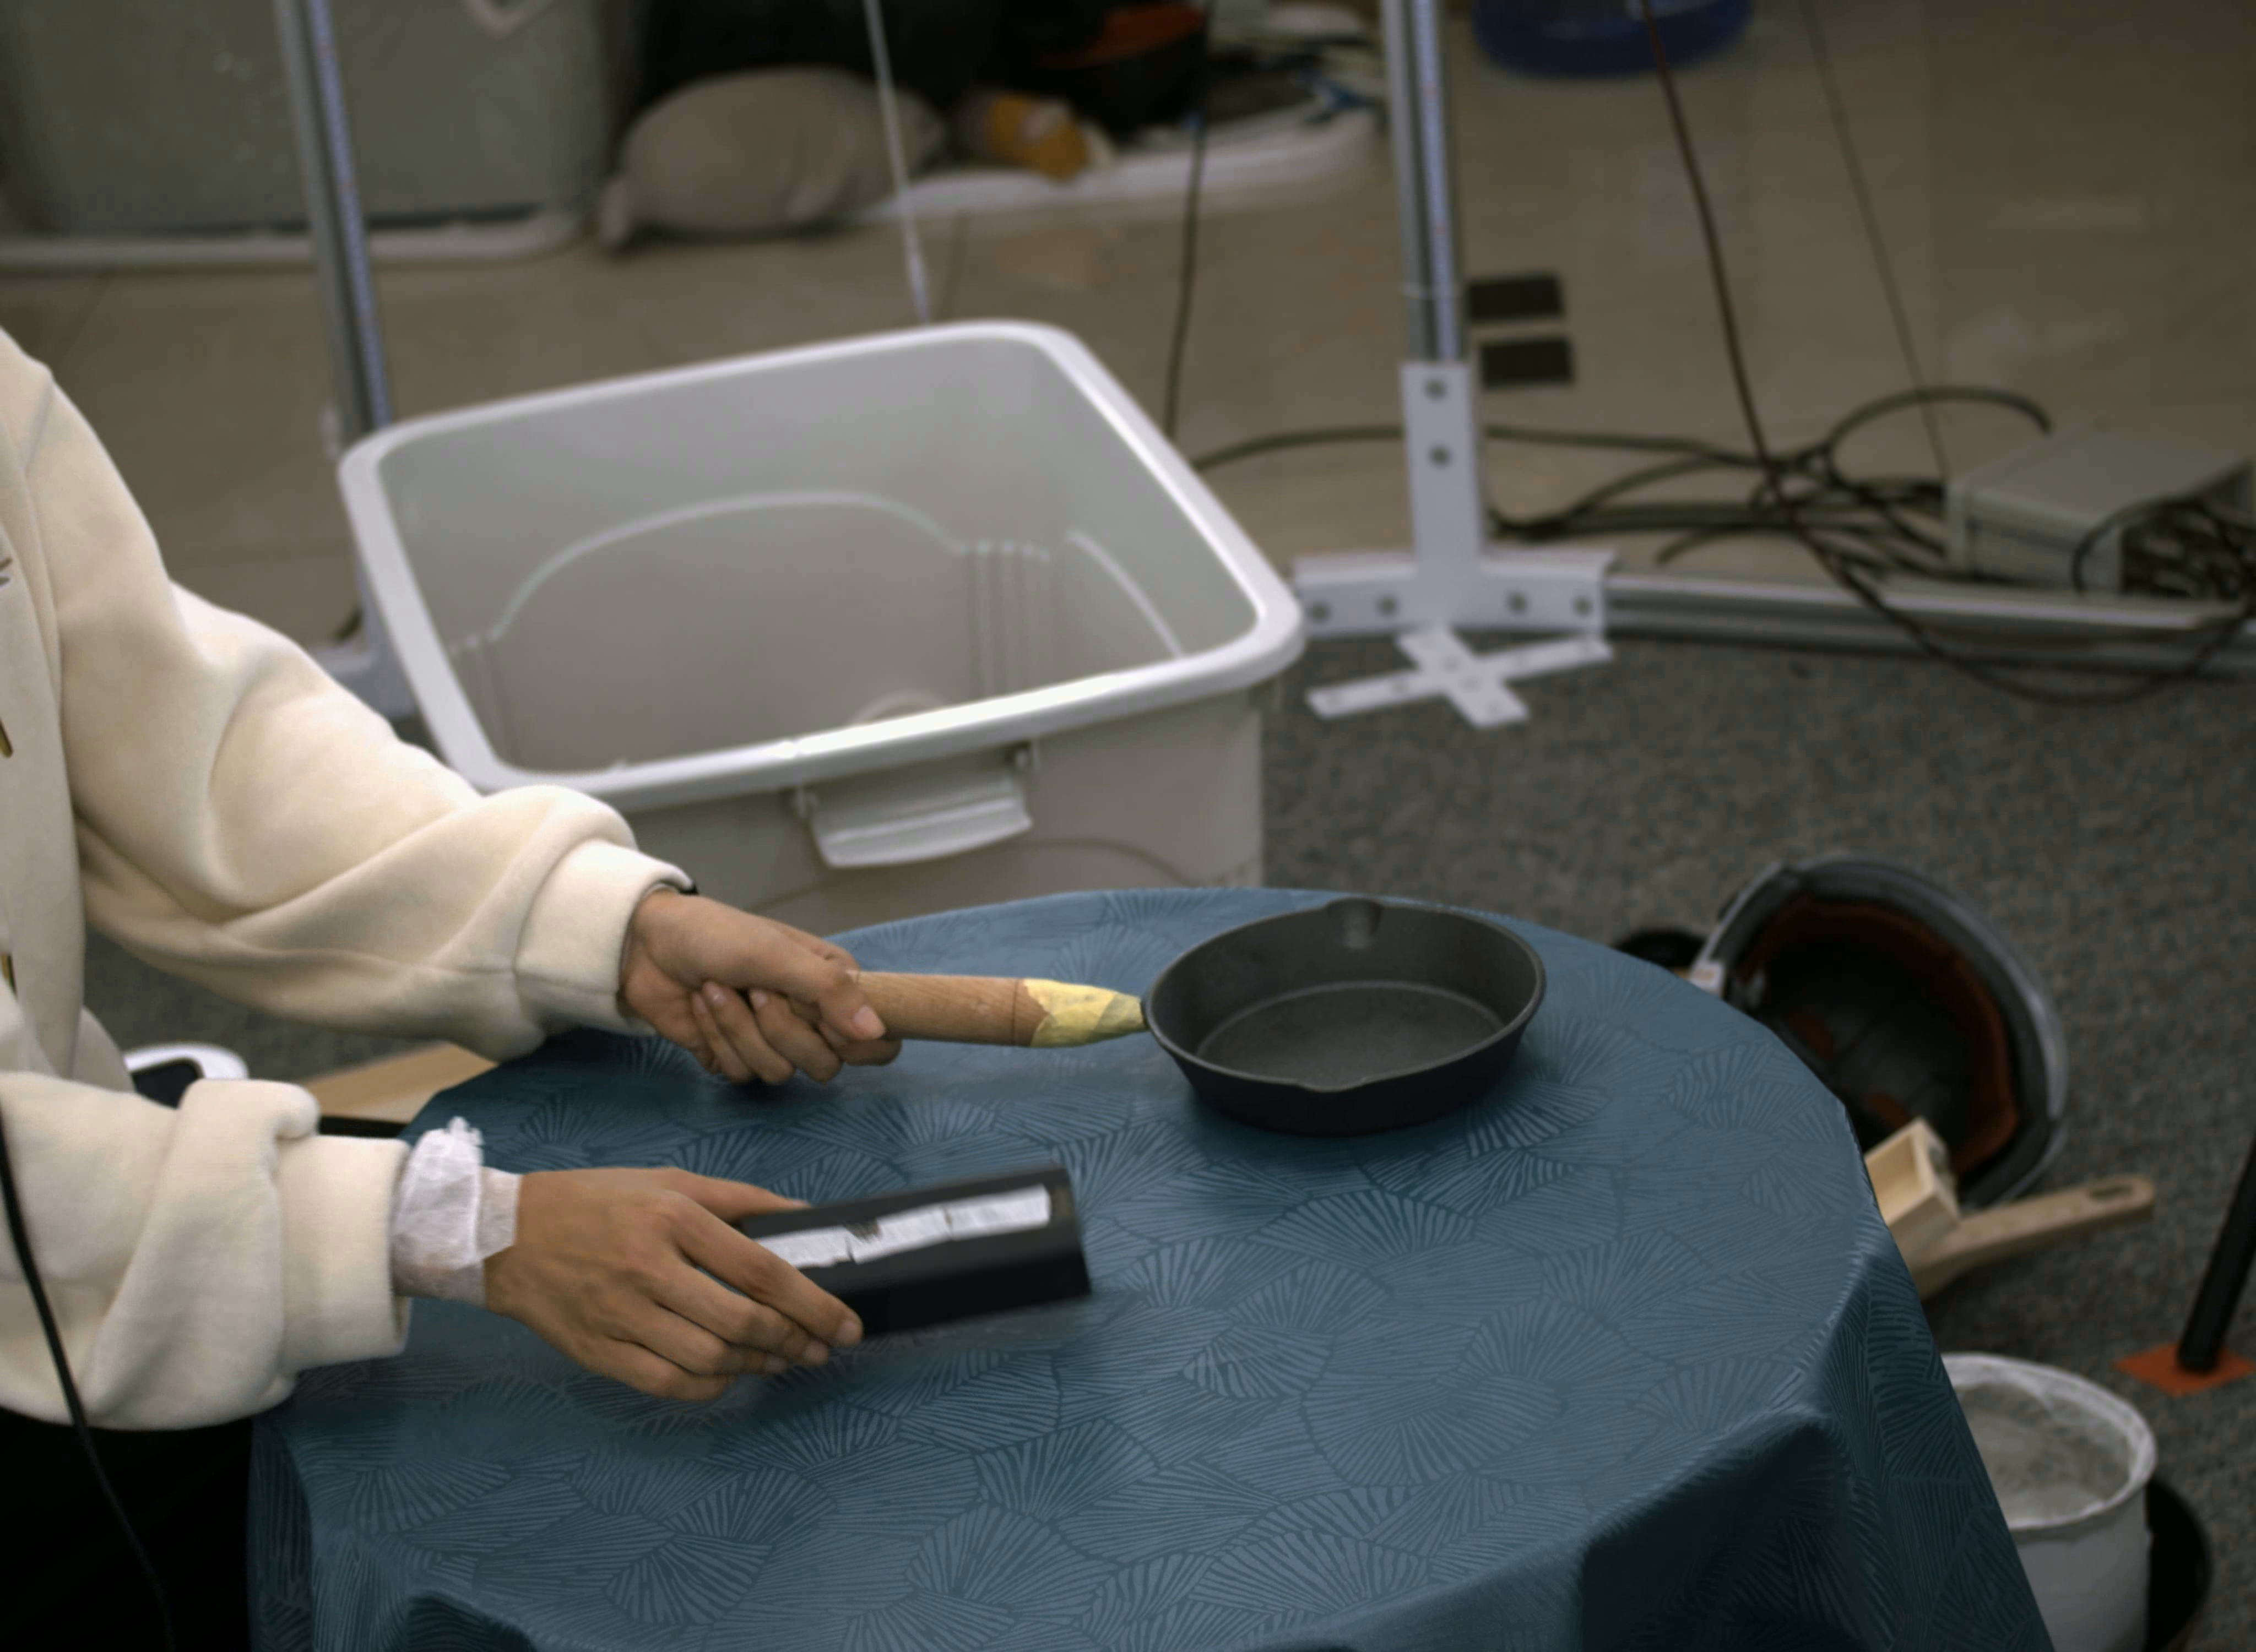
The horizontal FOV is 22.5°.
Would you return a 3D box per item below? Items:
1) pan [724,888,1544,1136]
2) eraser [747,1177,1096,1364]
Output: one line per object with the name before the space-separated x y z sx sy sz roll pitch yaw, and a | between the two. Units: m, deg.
pan | 0.002 0.074 2.226 0.323 0.050 0.166 -2 26 9
eraser | -0.074 0.160 2.054 0.125 0.031 0.052 -9 38 0
